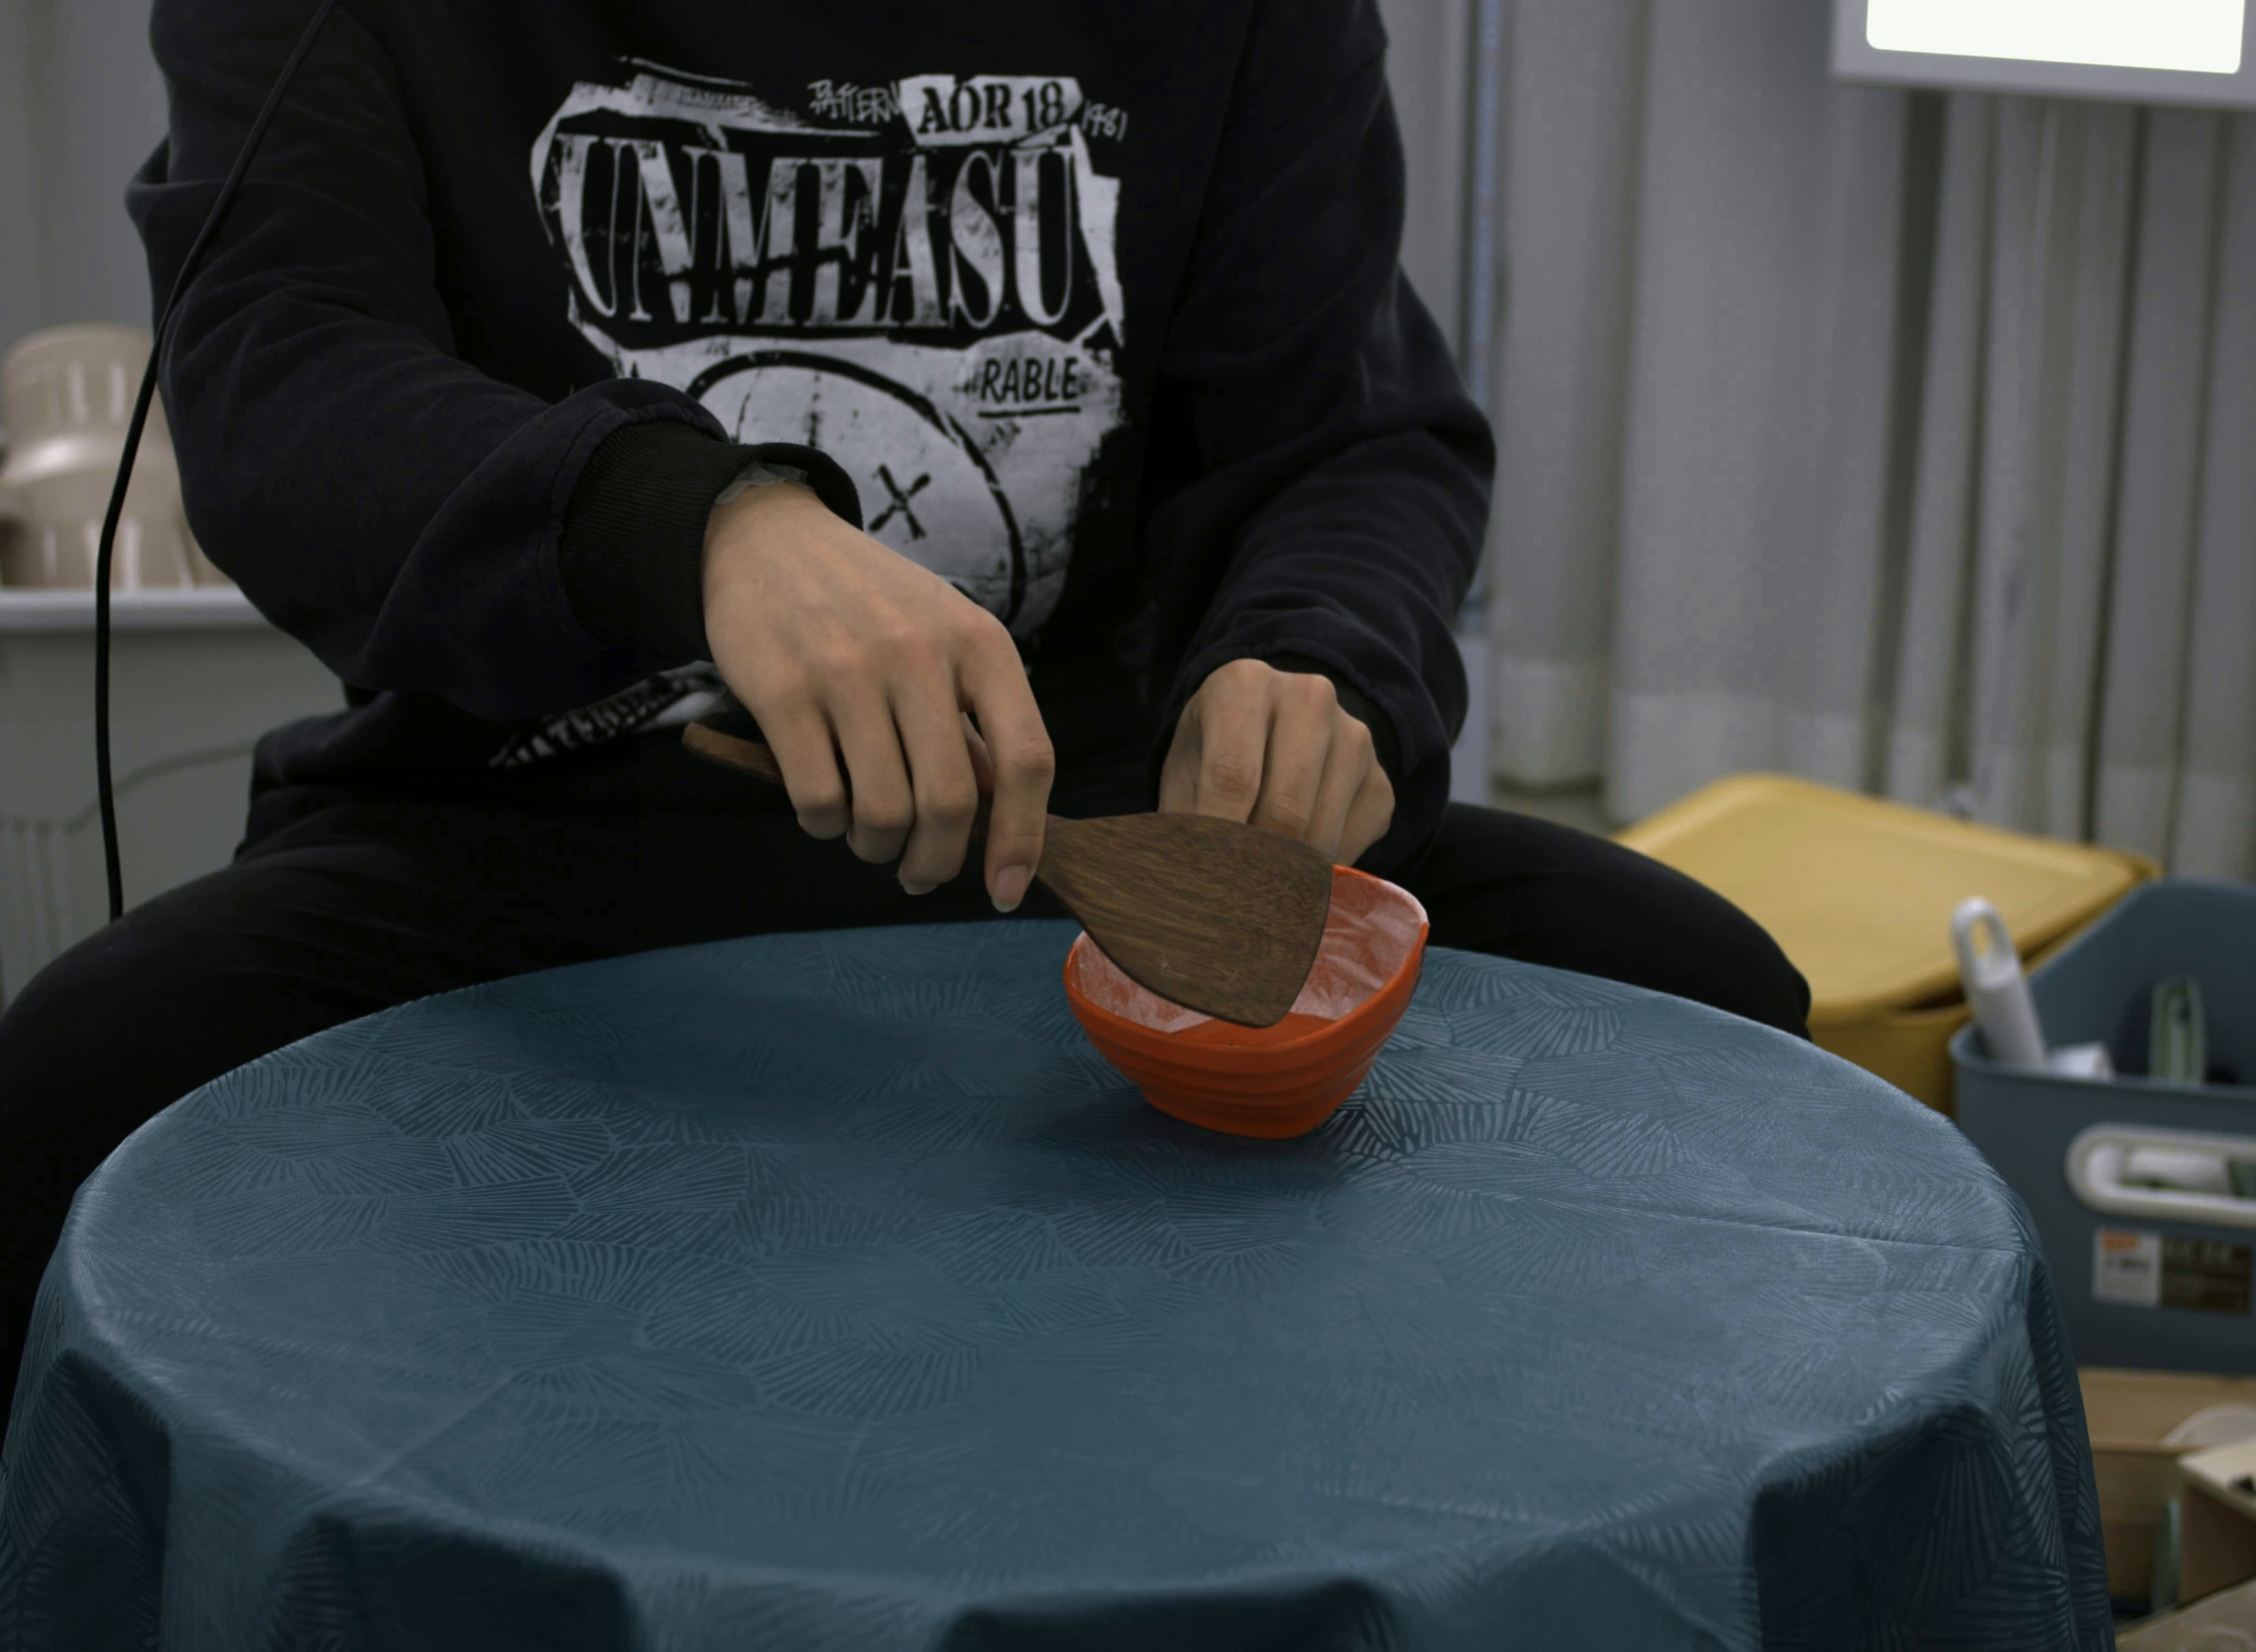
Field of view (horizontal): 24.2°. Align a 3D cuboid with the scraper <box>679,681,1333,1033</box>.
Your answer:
[{"bbox_3d":[-0.040,0.001,1.645,0.211,0.011,0.075,21,59,-2],"label":"scraper"}]

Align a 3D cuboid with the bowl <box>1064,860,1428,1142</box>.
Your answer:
[{"bbox_3d":[0.040,0.060,1.694,0.118,0.052,0.118,-5,33,4],"label":"bowl"}]
